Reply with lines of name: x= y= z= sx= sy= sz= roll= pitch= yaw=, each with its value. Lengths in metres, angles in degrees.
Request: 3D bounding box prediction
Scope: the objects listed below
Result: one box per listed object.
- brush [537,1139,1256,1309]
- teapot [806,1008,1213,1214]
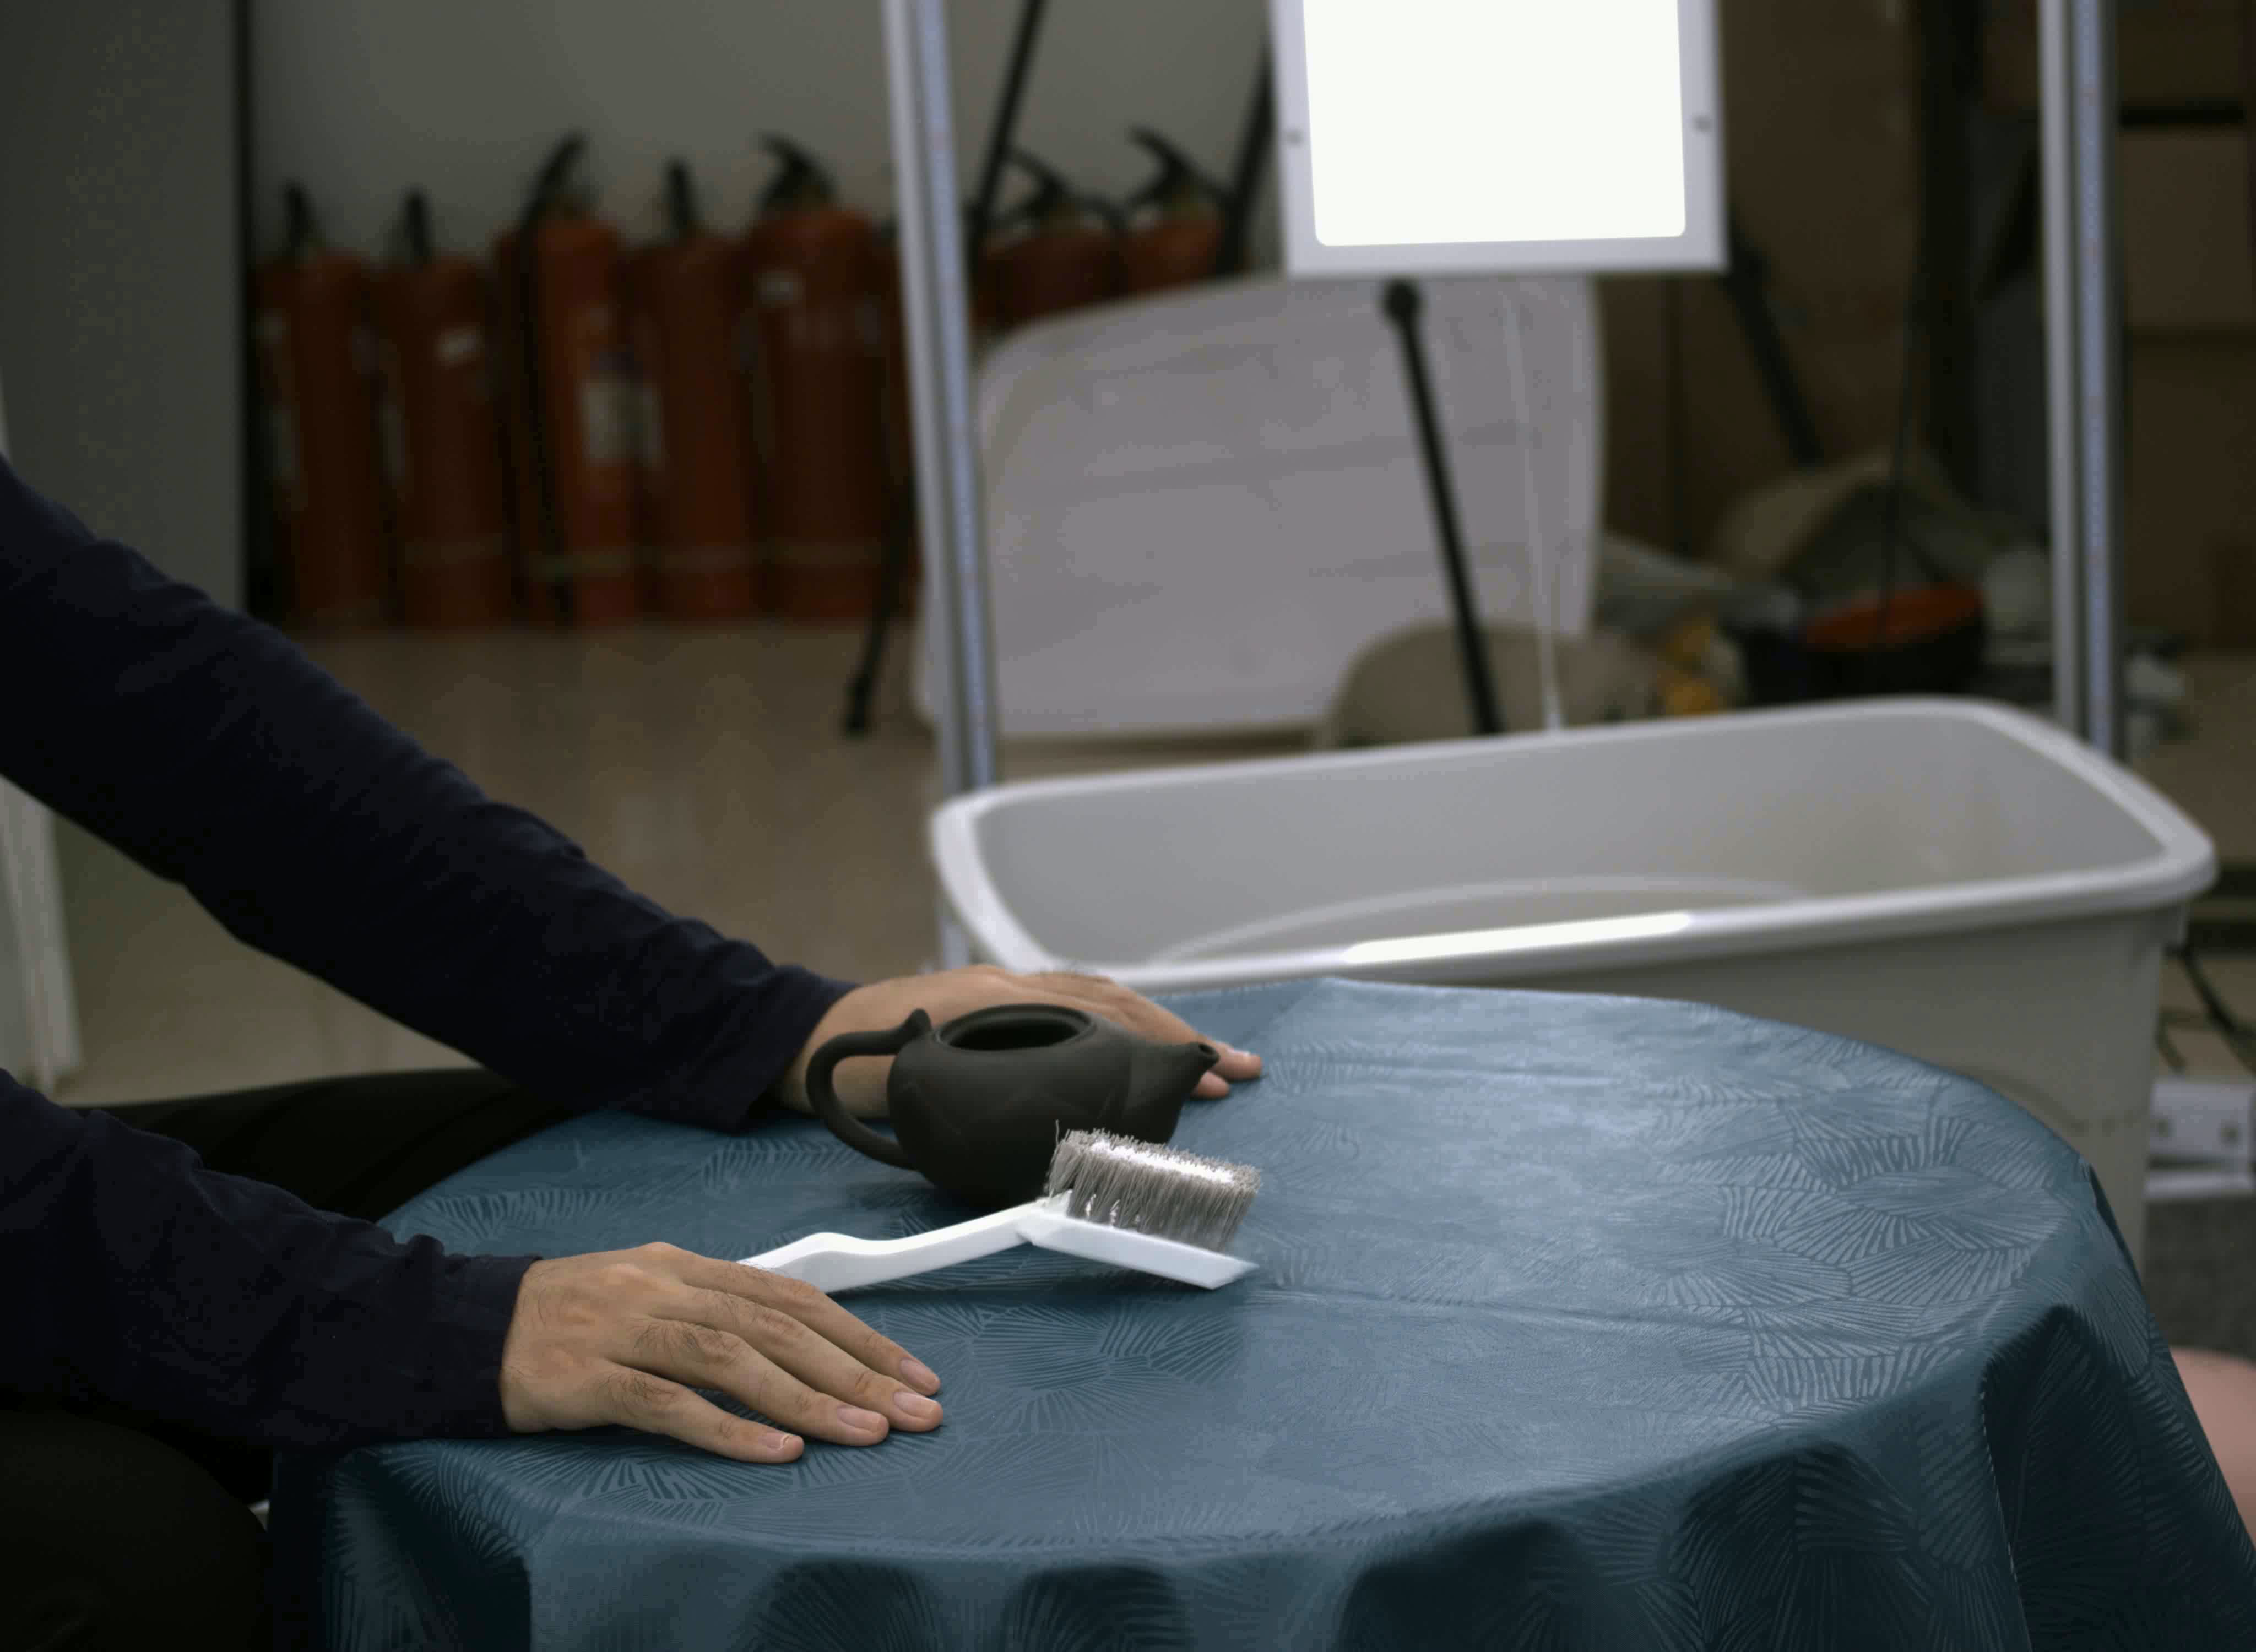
brush: x=-0.078 y=0.131 z=1.813 sx=0.245 sy=0.050 sz=0.034 roll=-2 pitch=19 yaw=11
teapot: x=-0.041 y=0.097 z=1.910 sx=0.156 sy=0.064 sz=0.090 roll=0 pitch=15 yaw=23
